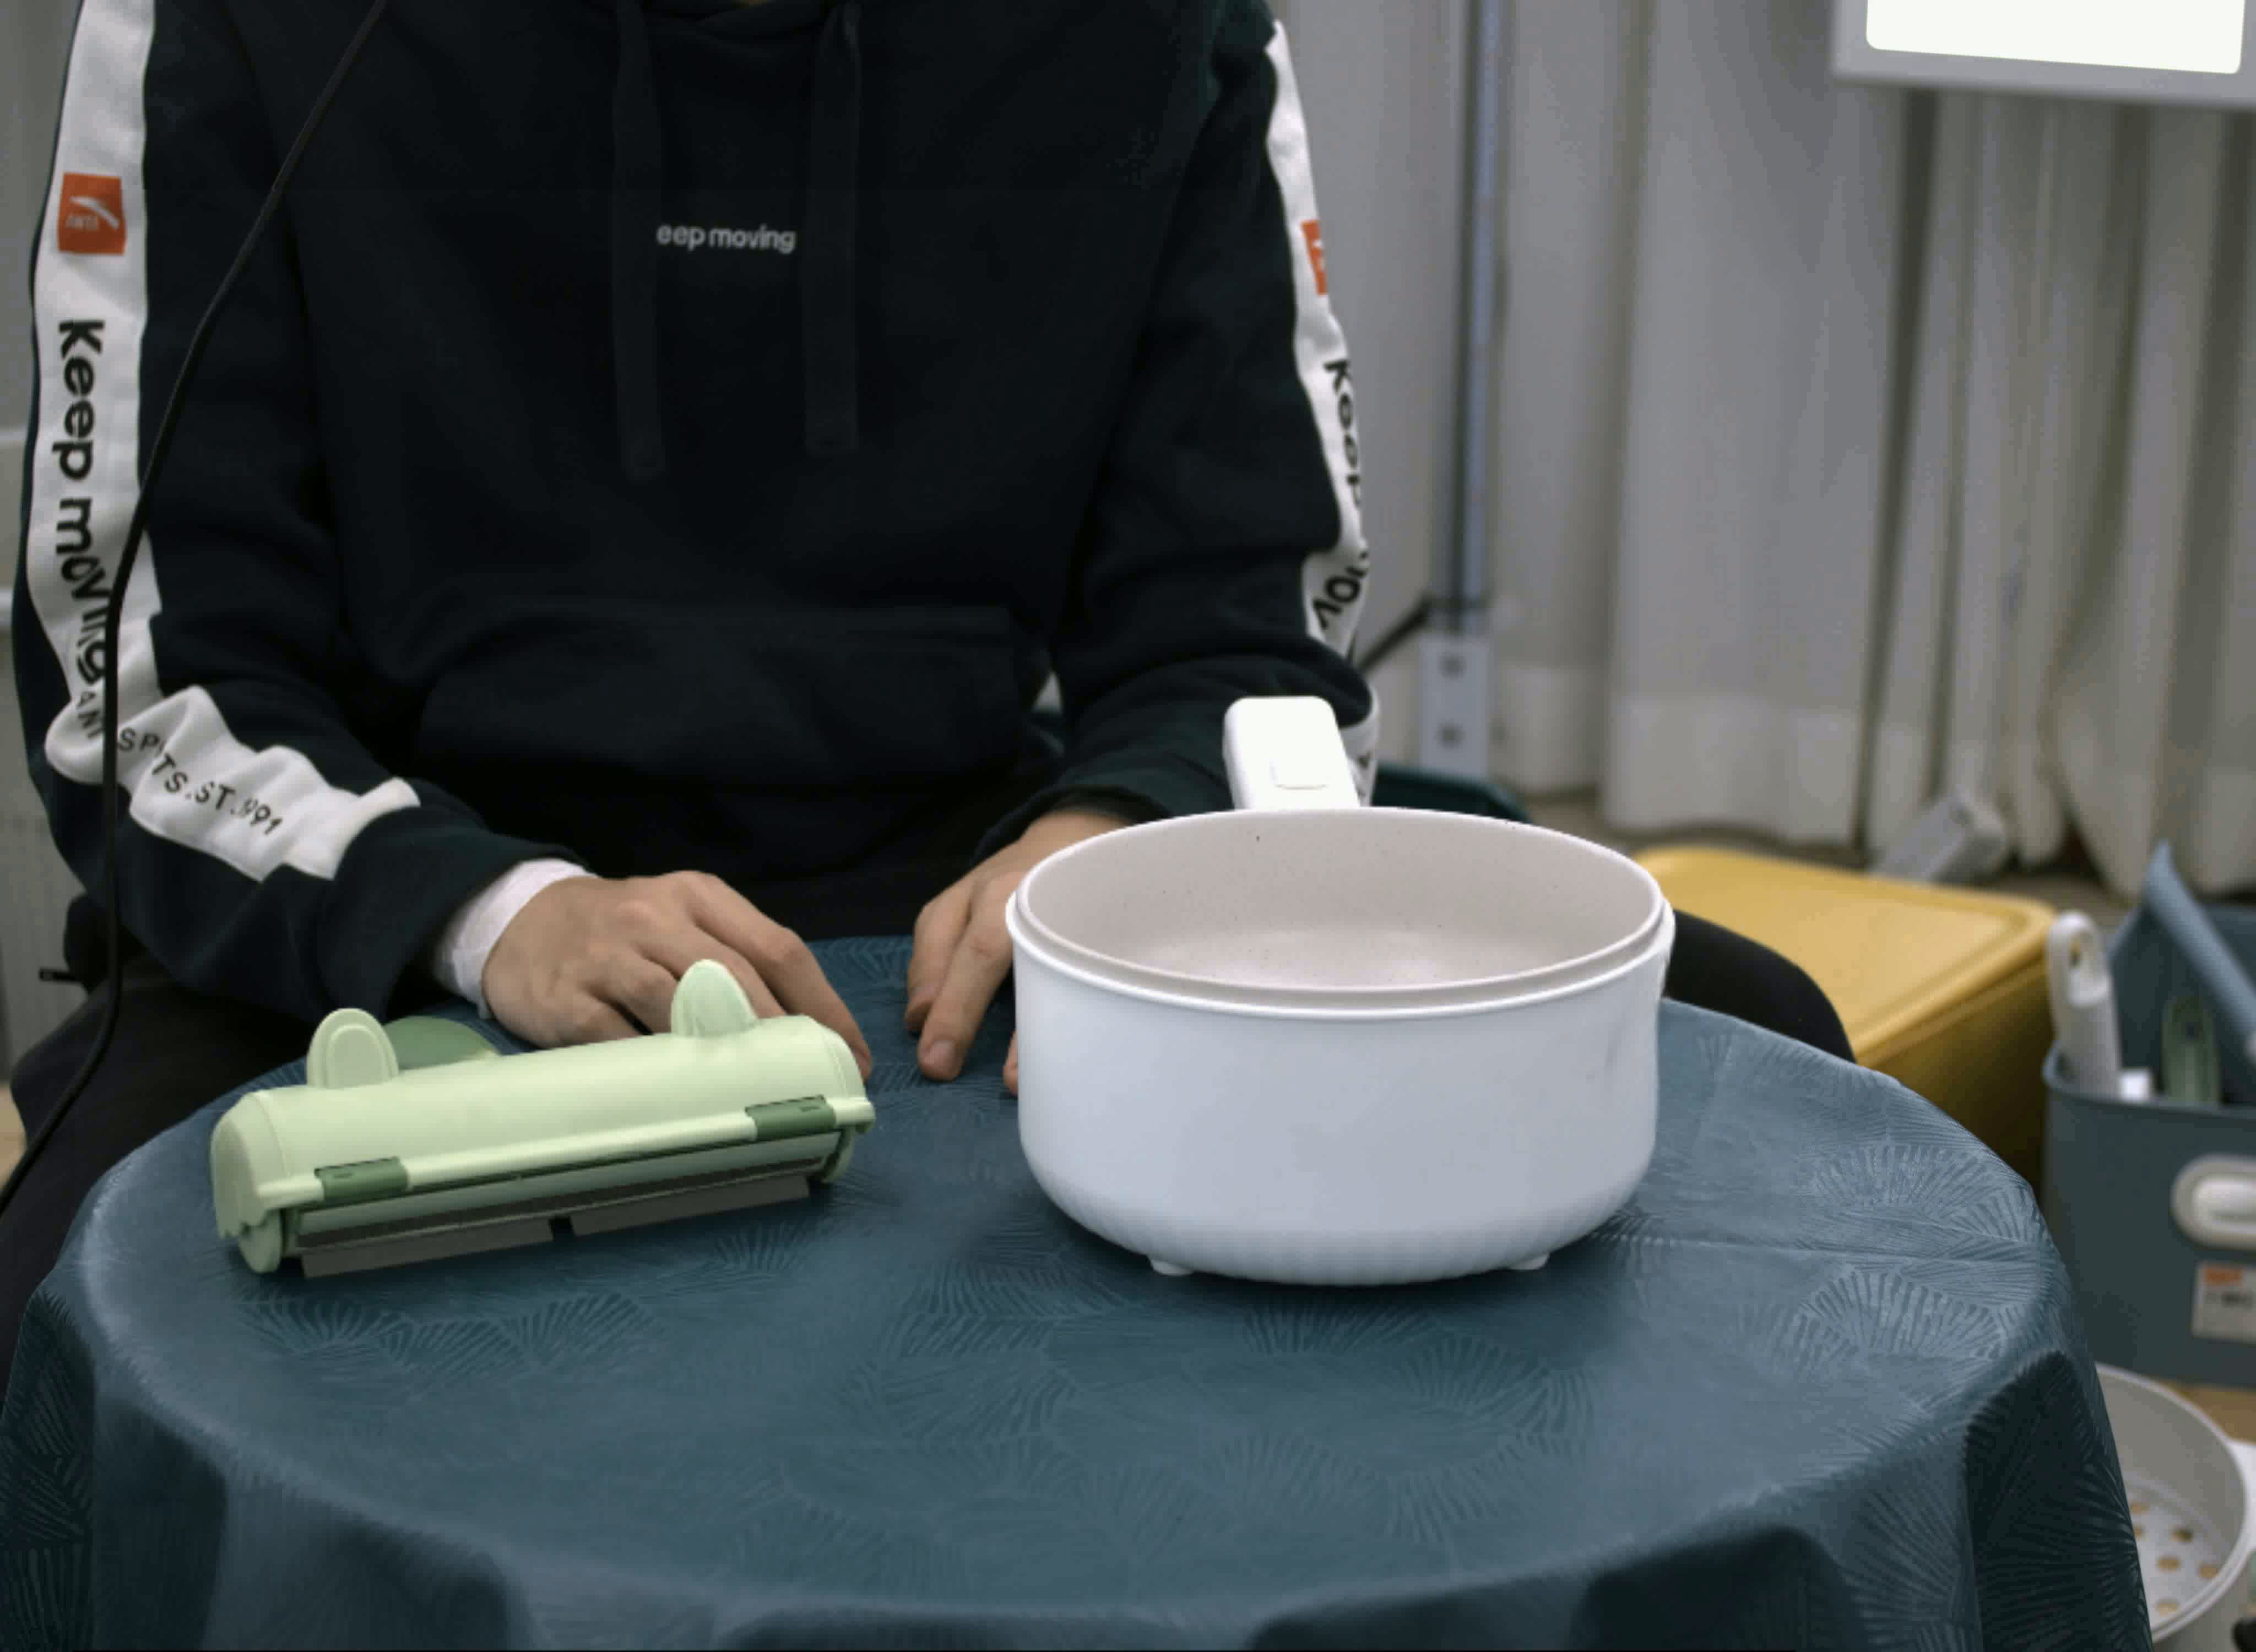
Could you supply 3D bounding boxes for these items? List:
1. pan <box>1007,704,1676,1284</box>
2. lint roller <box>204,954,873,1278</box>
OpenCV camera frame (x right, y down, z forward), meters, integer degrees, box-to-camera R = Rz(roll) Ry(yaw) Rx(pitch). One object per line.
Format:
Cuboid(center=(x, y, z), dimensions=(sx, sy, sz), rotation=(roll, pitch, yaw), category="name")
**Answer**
Cuboid(center=(0.062, 0.048, 1.666), dimensions=(0.201, 0.103, 0.353), rotation=(0, 15, -2), category="pan")
Cuboid(center=(-0.200, 0.070, 1.624), dimensions=(0.199, 0.083, 0.181), rotation=(-8, 23, -25), category="lint roller")
